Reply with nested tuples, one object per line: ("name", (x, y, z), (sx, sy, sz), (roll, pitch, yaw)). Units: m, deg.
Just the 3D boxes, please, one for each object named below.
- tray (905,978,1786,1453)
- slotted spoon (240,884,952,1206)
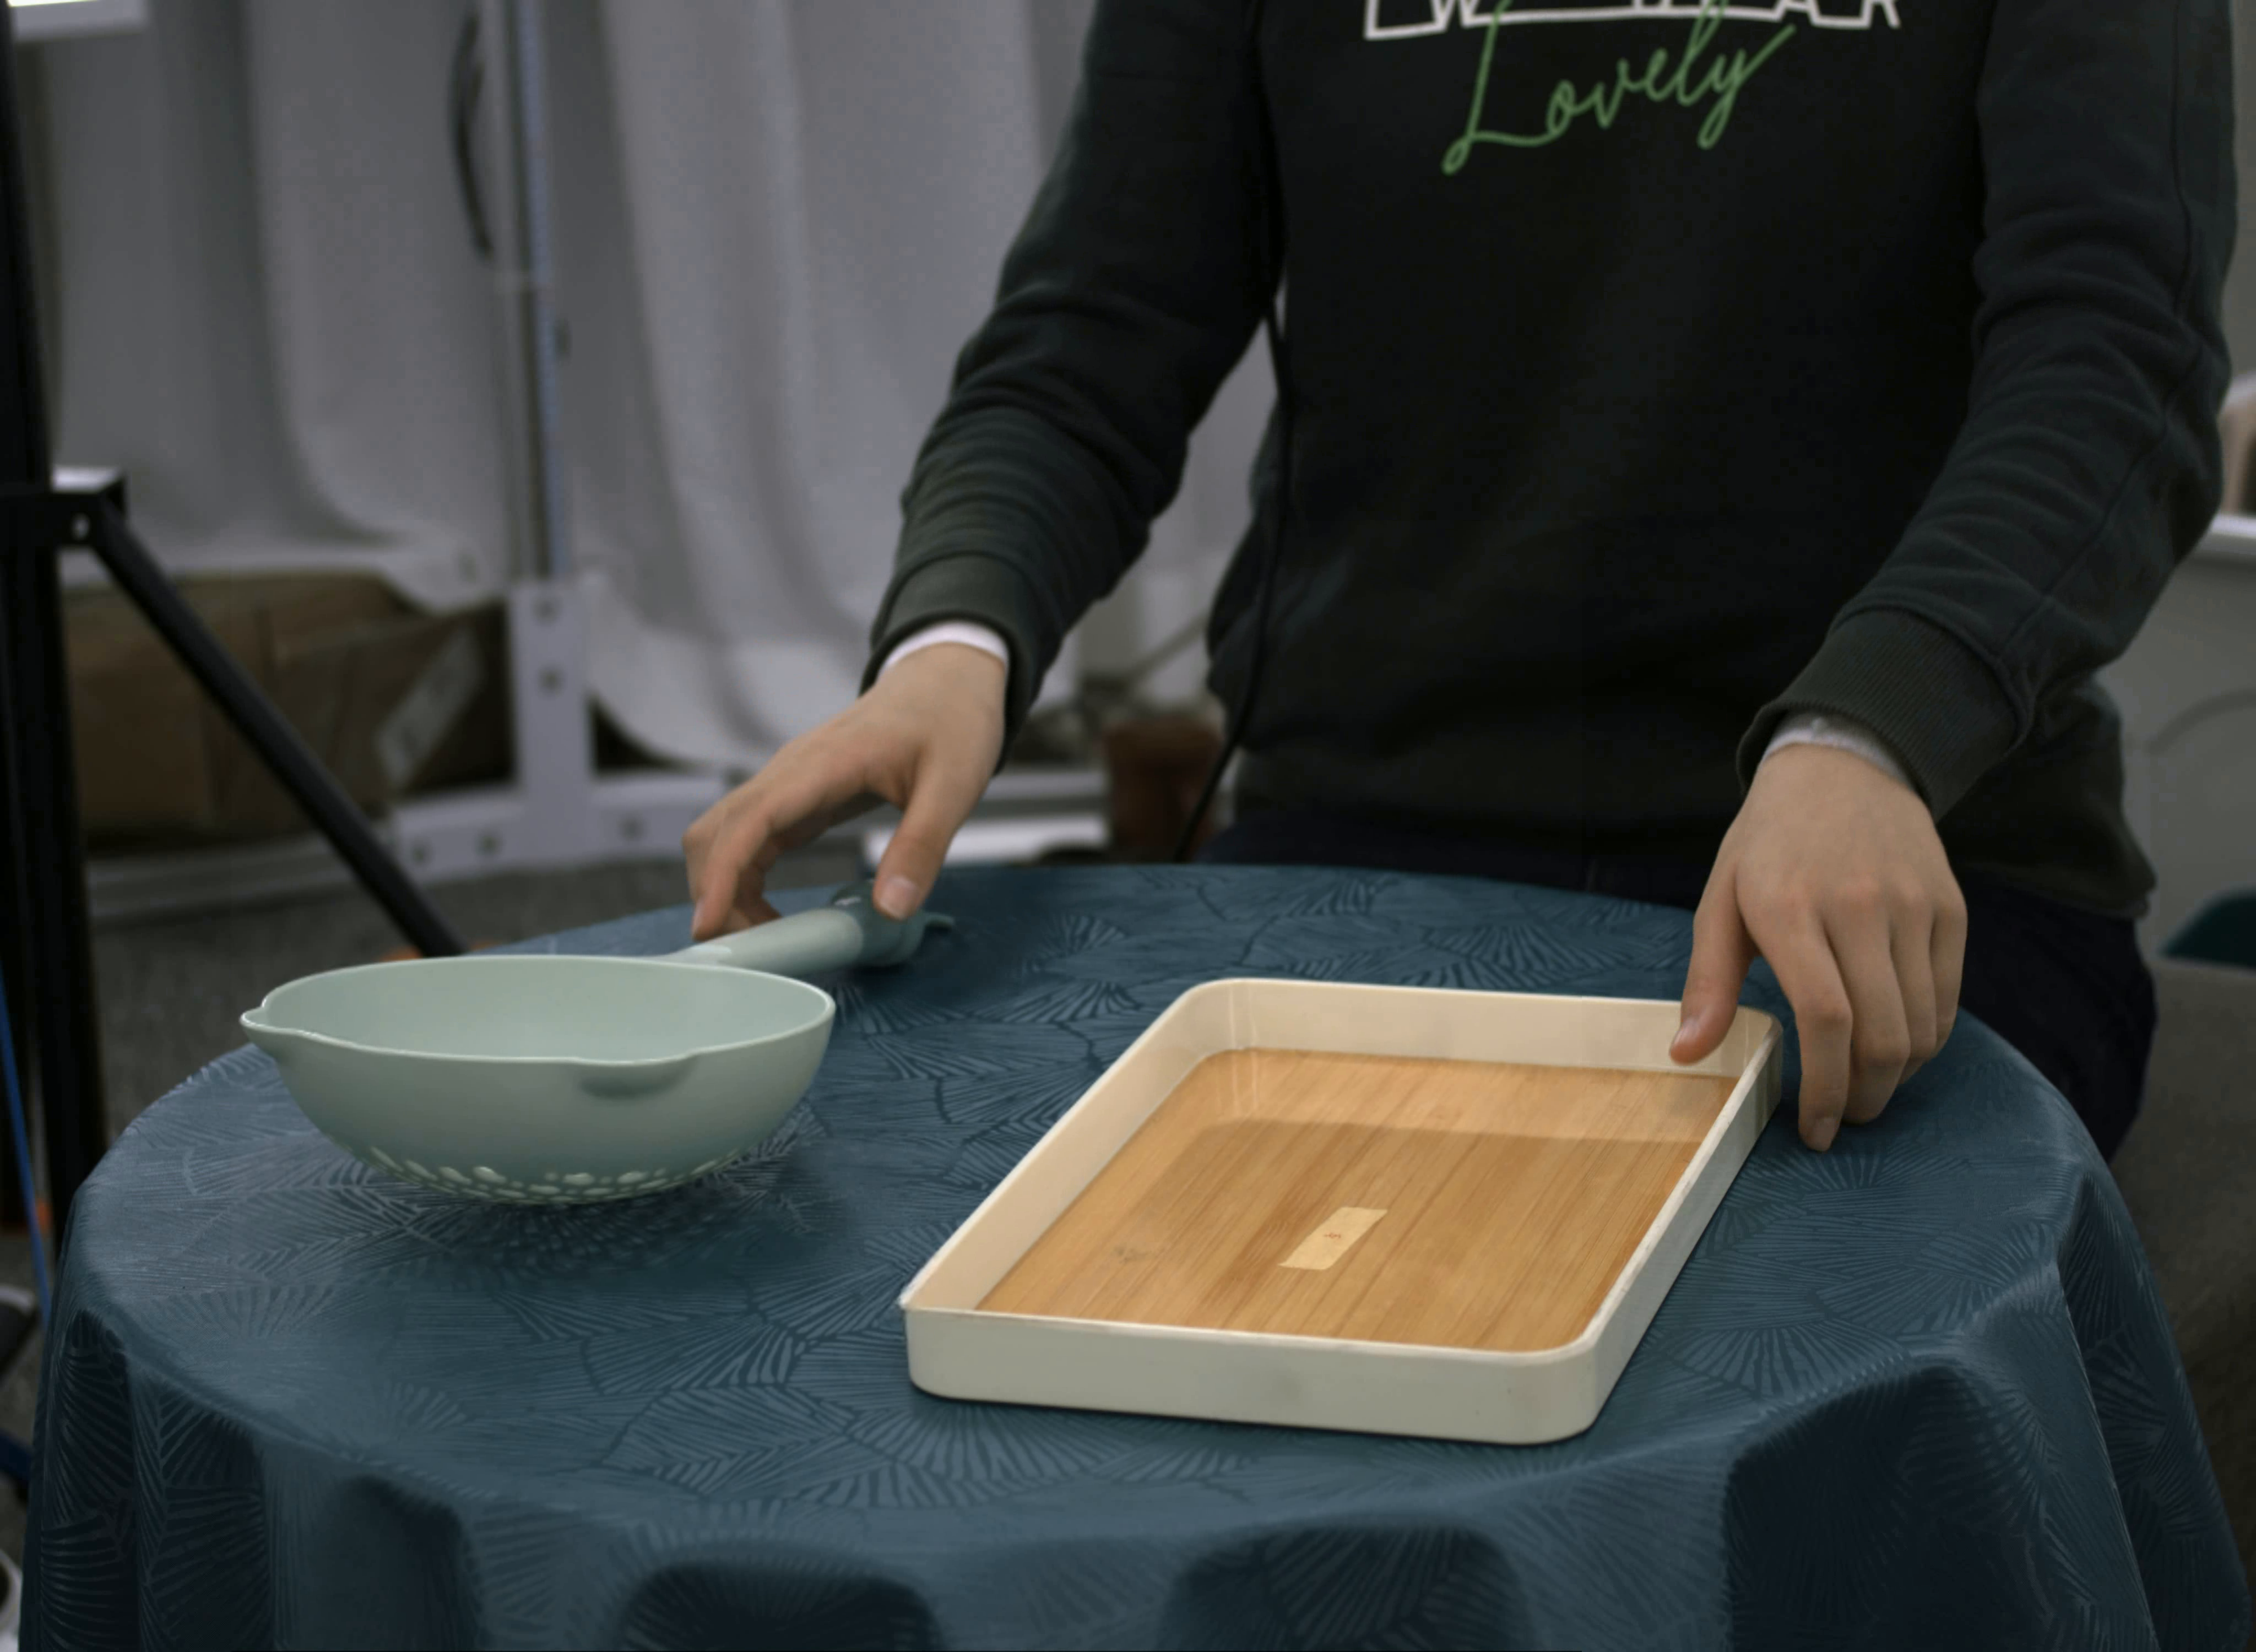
("tray", (0.070, 0.105, 1.510), (0.193, 0.027, 0.297), (3, 17, 18))
("slotted spoon", (-0.134, 0.052, 1.660), (0.171, 0.075, 0.354), (5, 17, 22))
